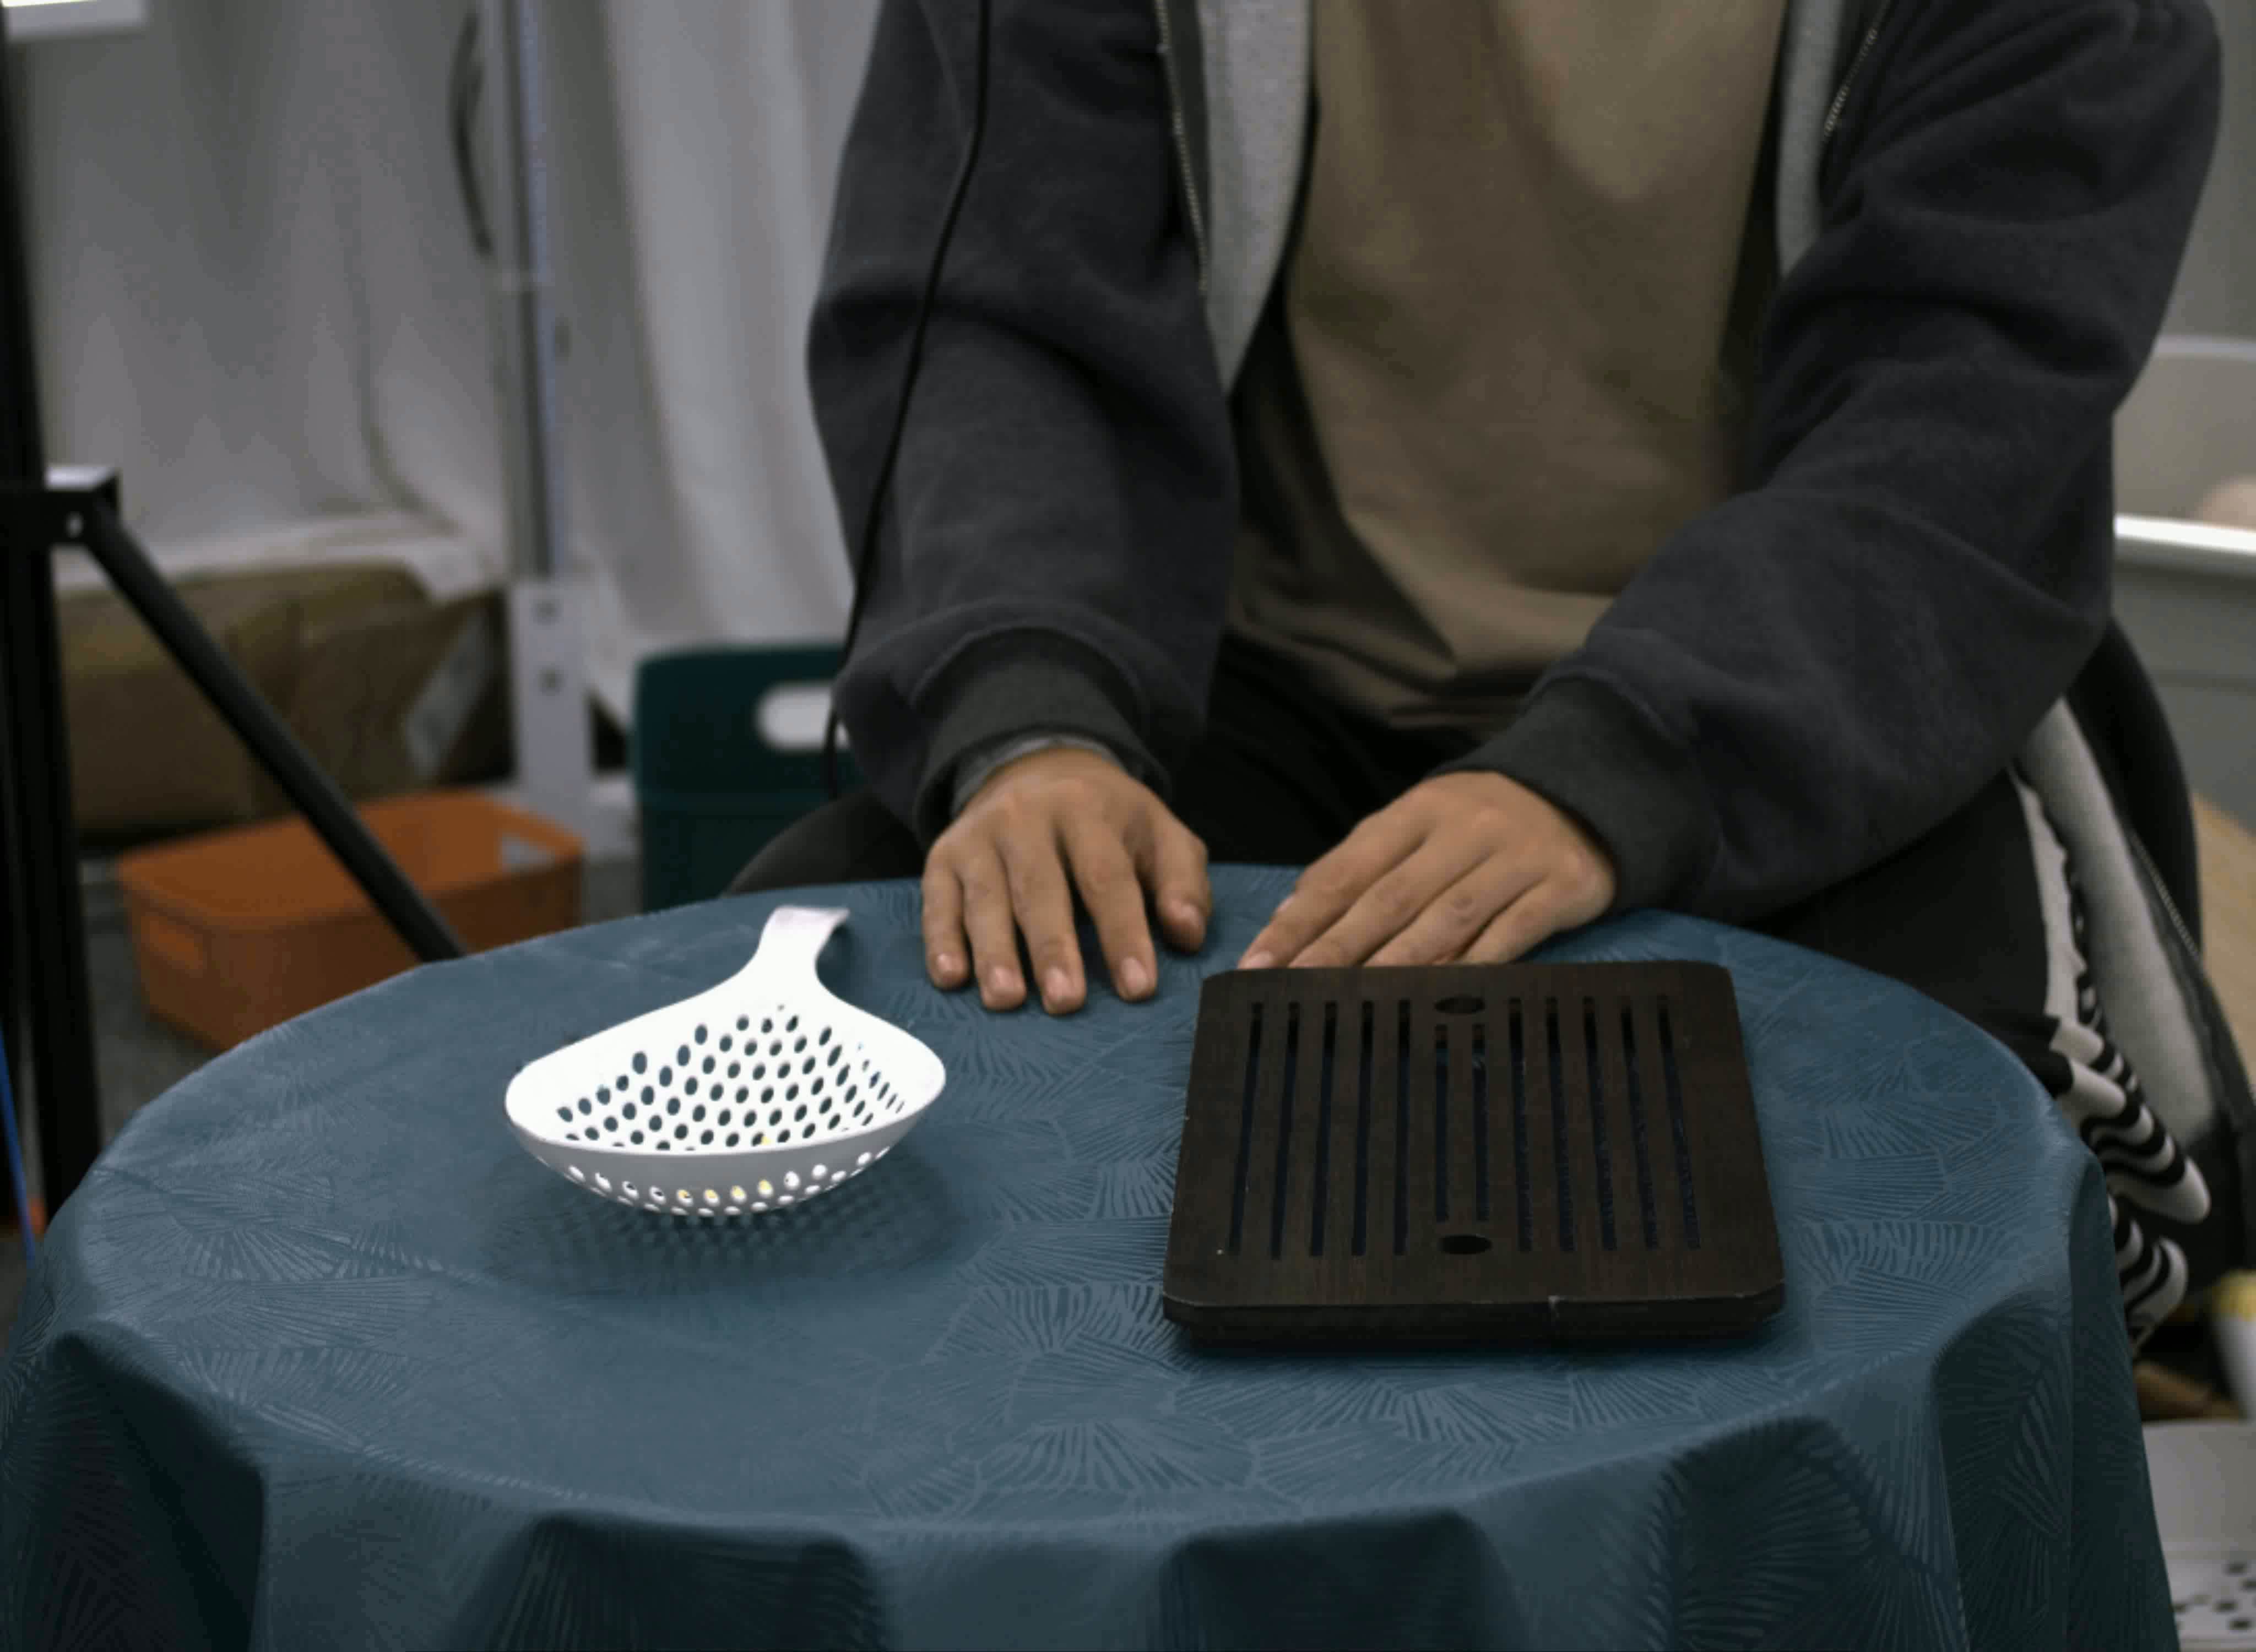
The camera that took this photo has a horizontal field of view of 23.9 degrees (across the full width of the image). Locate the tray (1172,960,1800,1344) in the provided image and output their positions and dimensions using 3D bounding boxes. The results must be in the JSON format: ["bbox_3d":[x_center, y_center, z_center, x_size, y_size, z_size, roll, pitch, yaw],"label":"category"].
[{"bbox_3d":[0.104,0.094,1.561,0.170,0.018,0.306,-1,16,4],"label":"tray"}]

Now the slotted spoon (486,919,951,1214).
[{"bbox_3d":[-0.113,0.061,1.669,0.136,0.050,0.348,-4,16,4],"label":"slotted spoon"}]
